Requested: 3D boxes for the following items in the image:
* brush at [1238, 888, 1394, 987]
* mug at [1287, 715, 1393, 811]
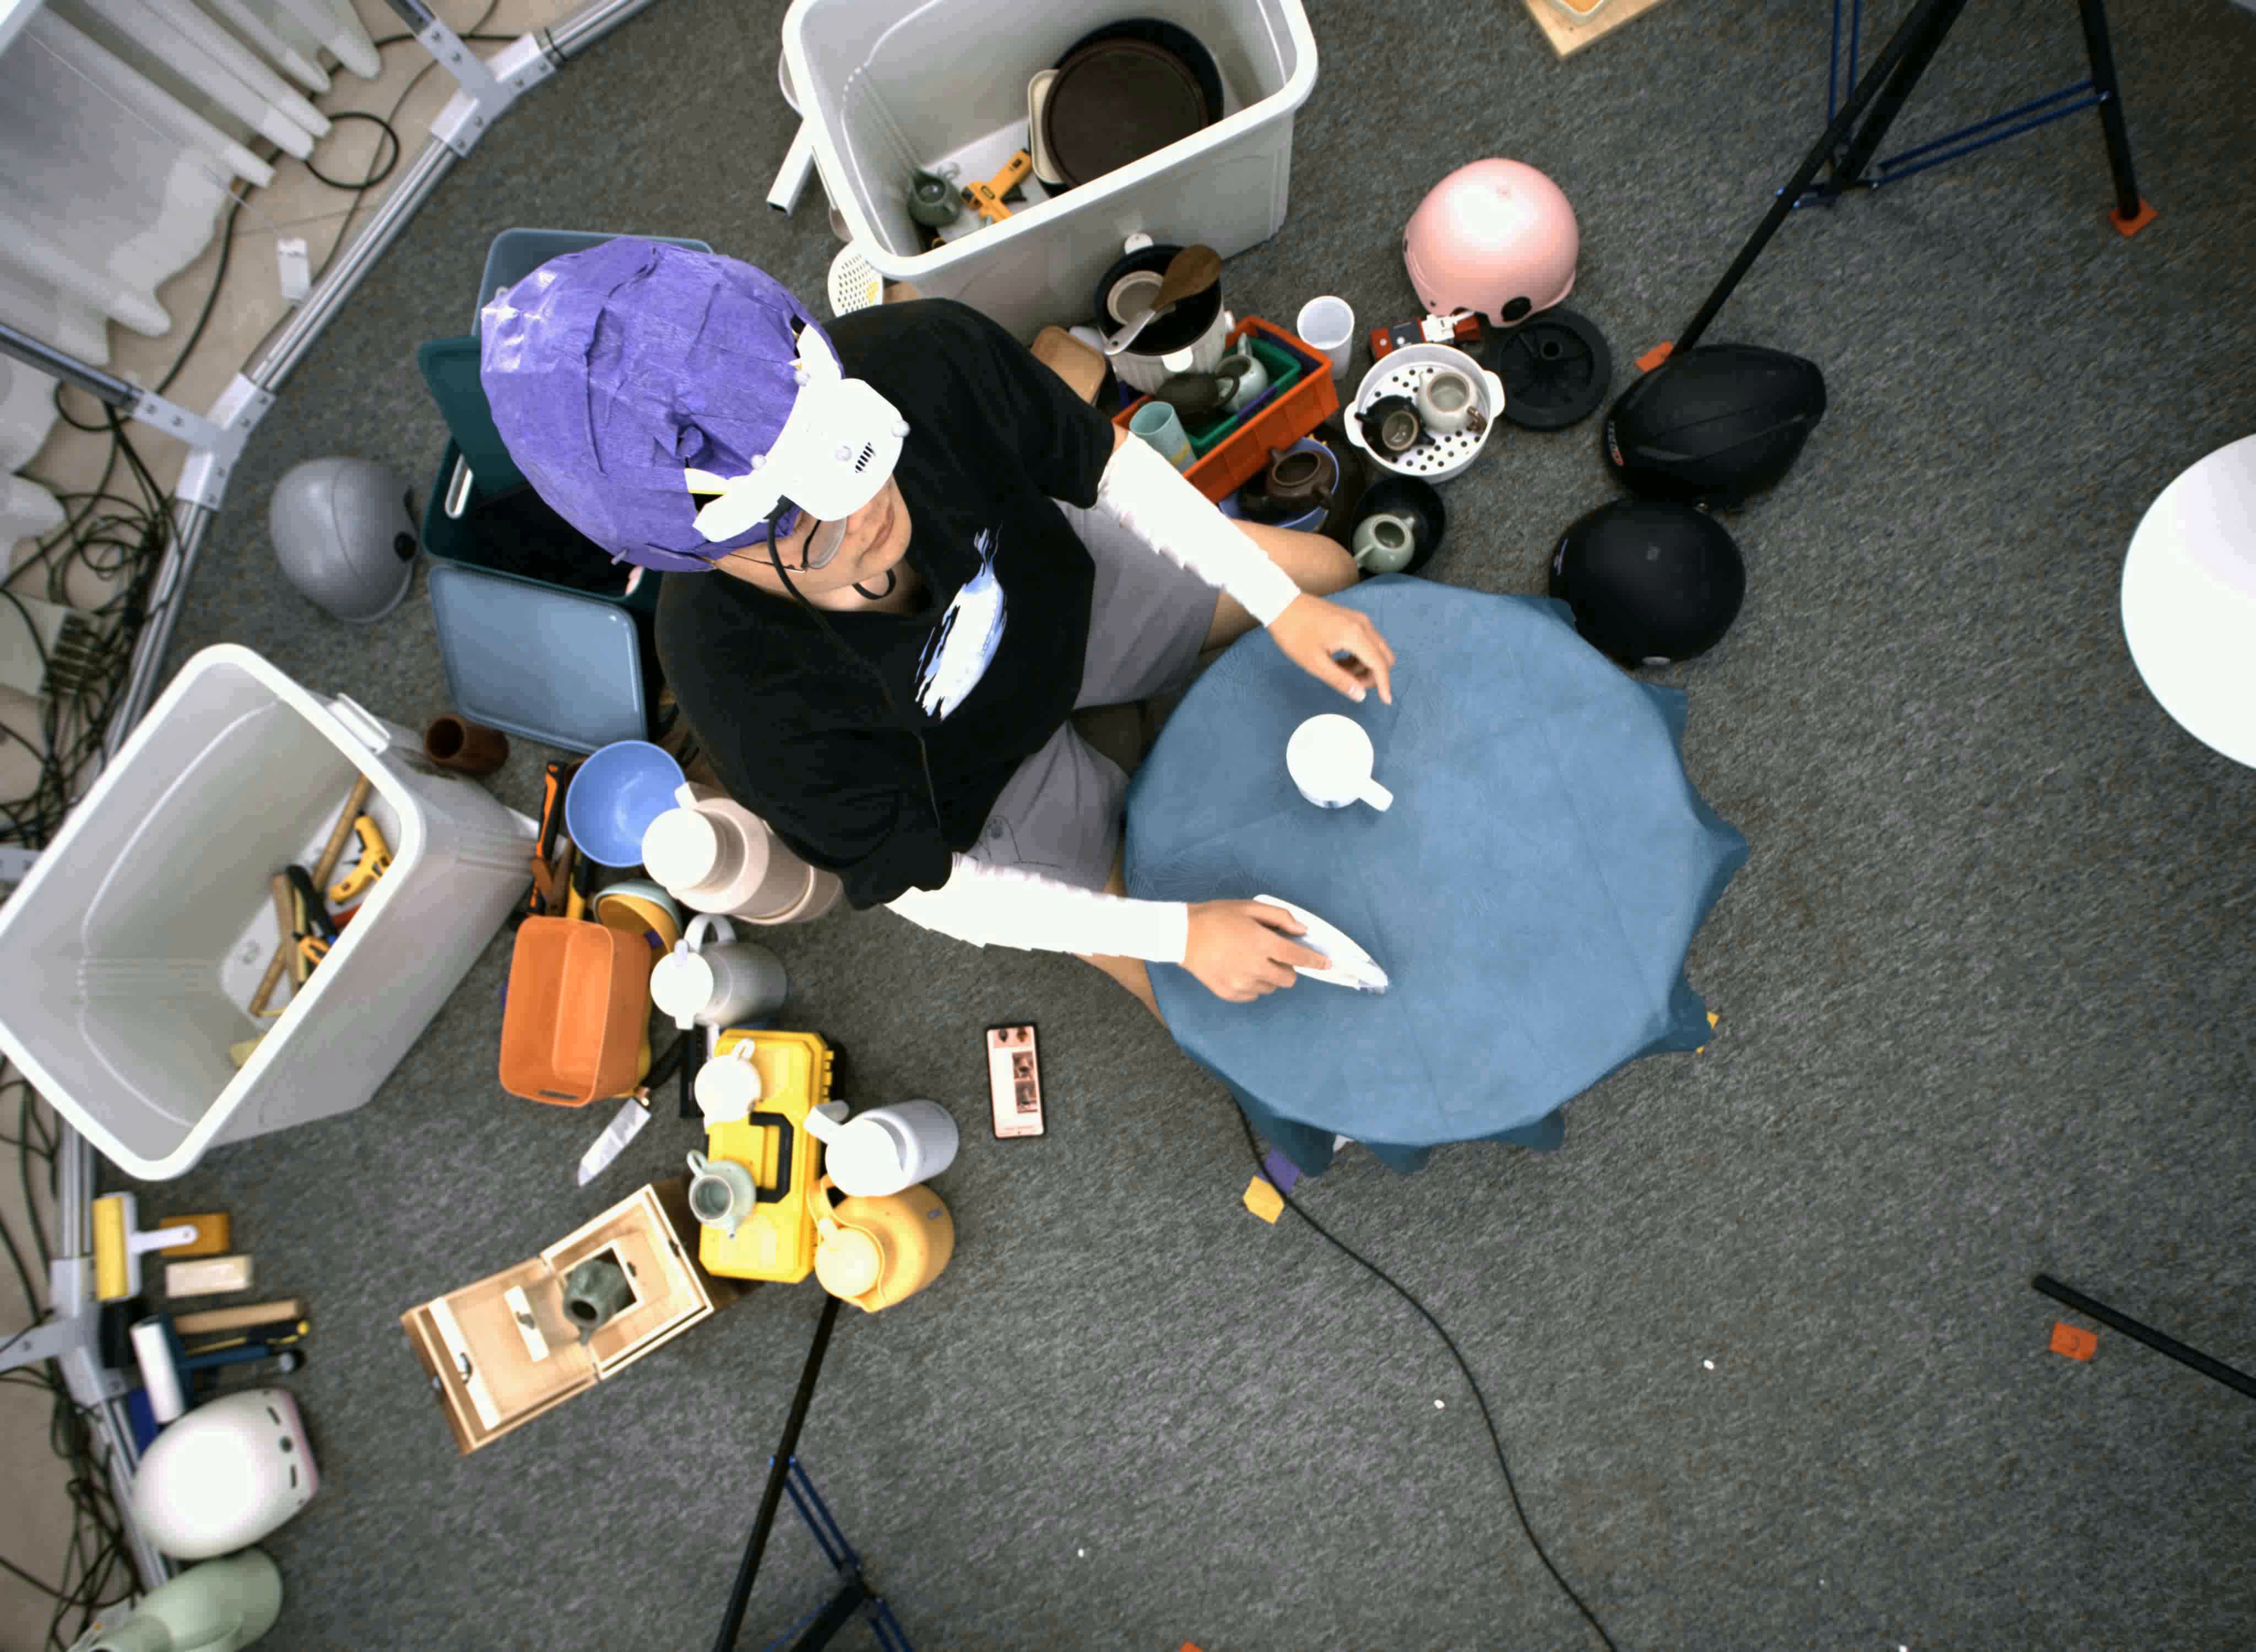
[{"bbox_3d":[0.194,0.123,1.424,0.175,0.094,0.061,27,93,10],"label":"brush"},{"bbox_3d":[0.222,-0.057,1.422,0.118,0.102,0.085,37,92,10],"label":"mug"}]
